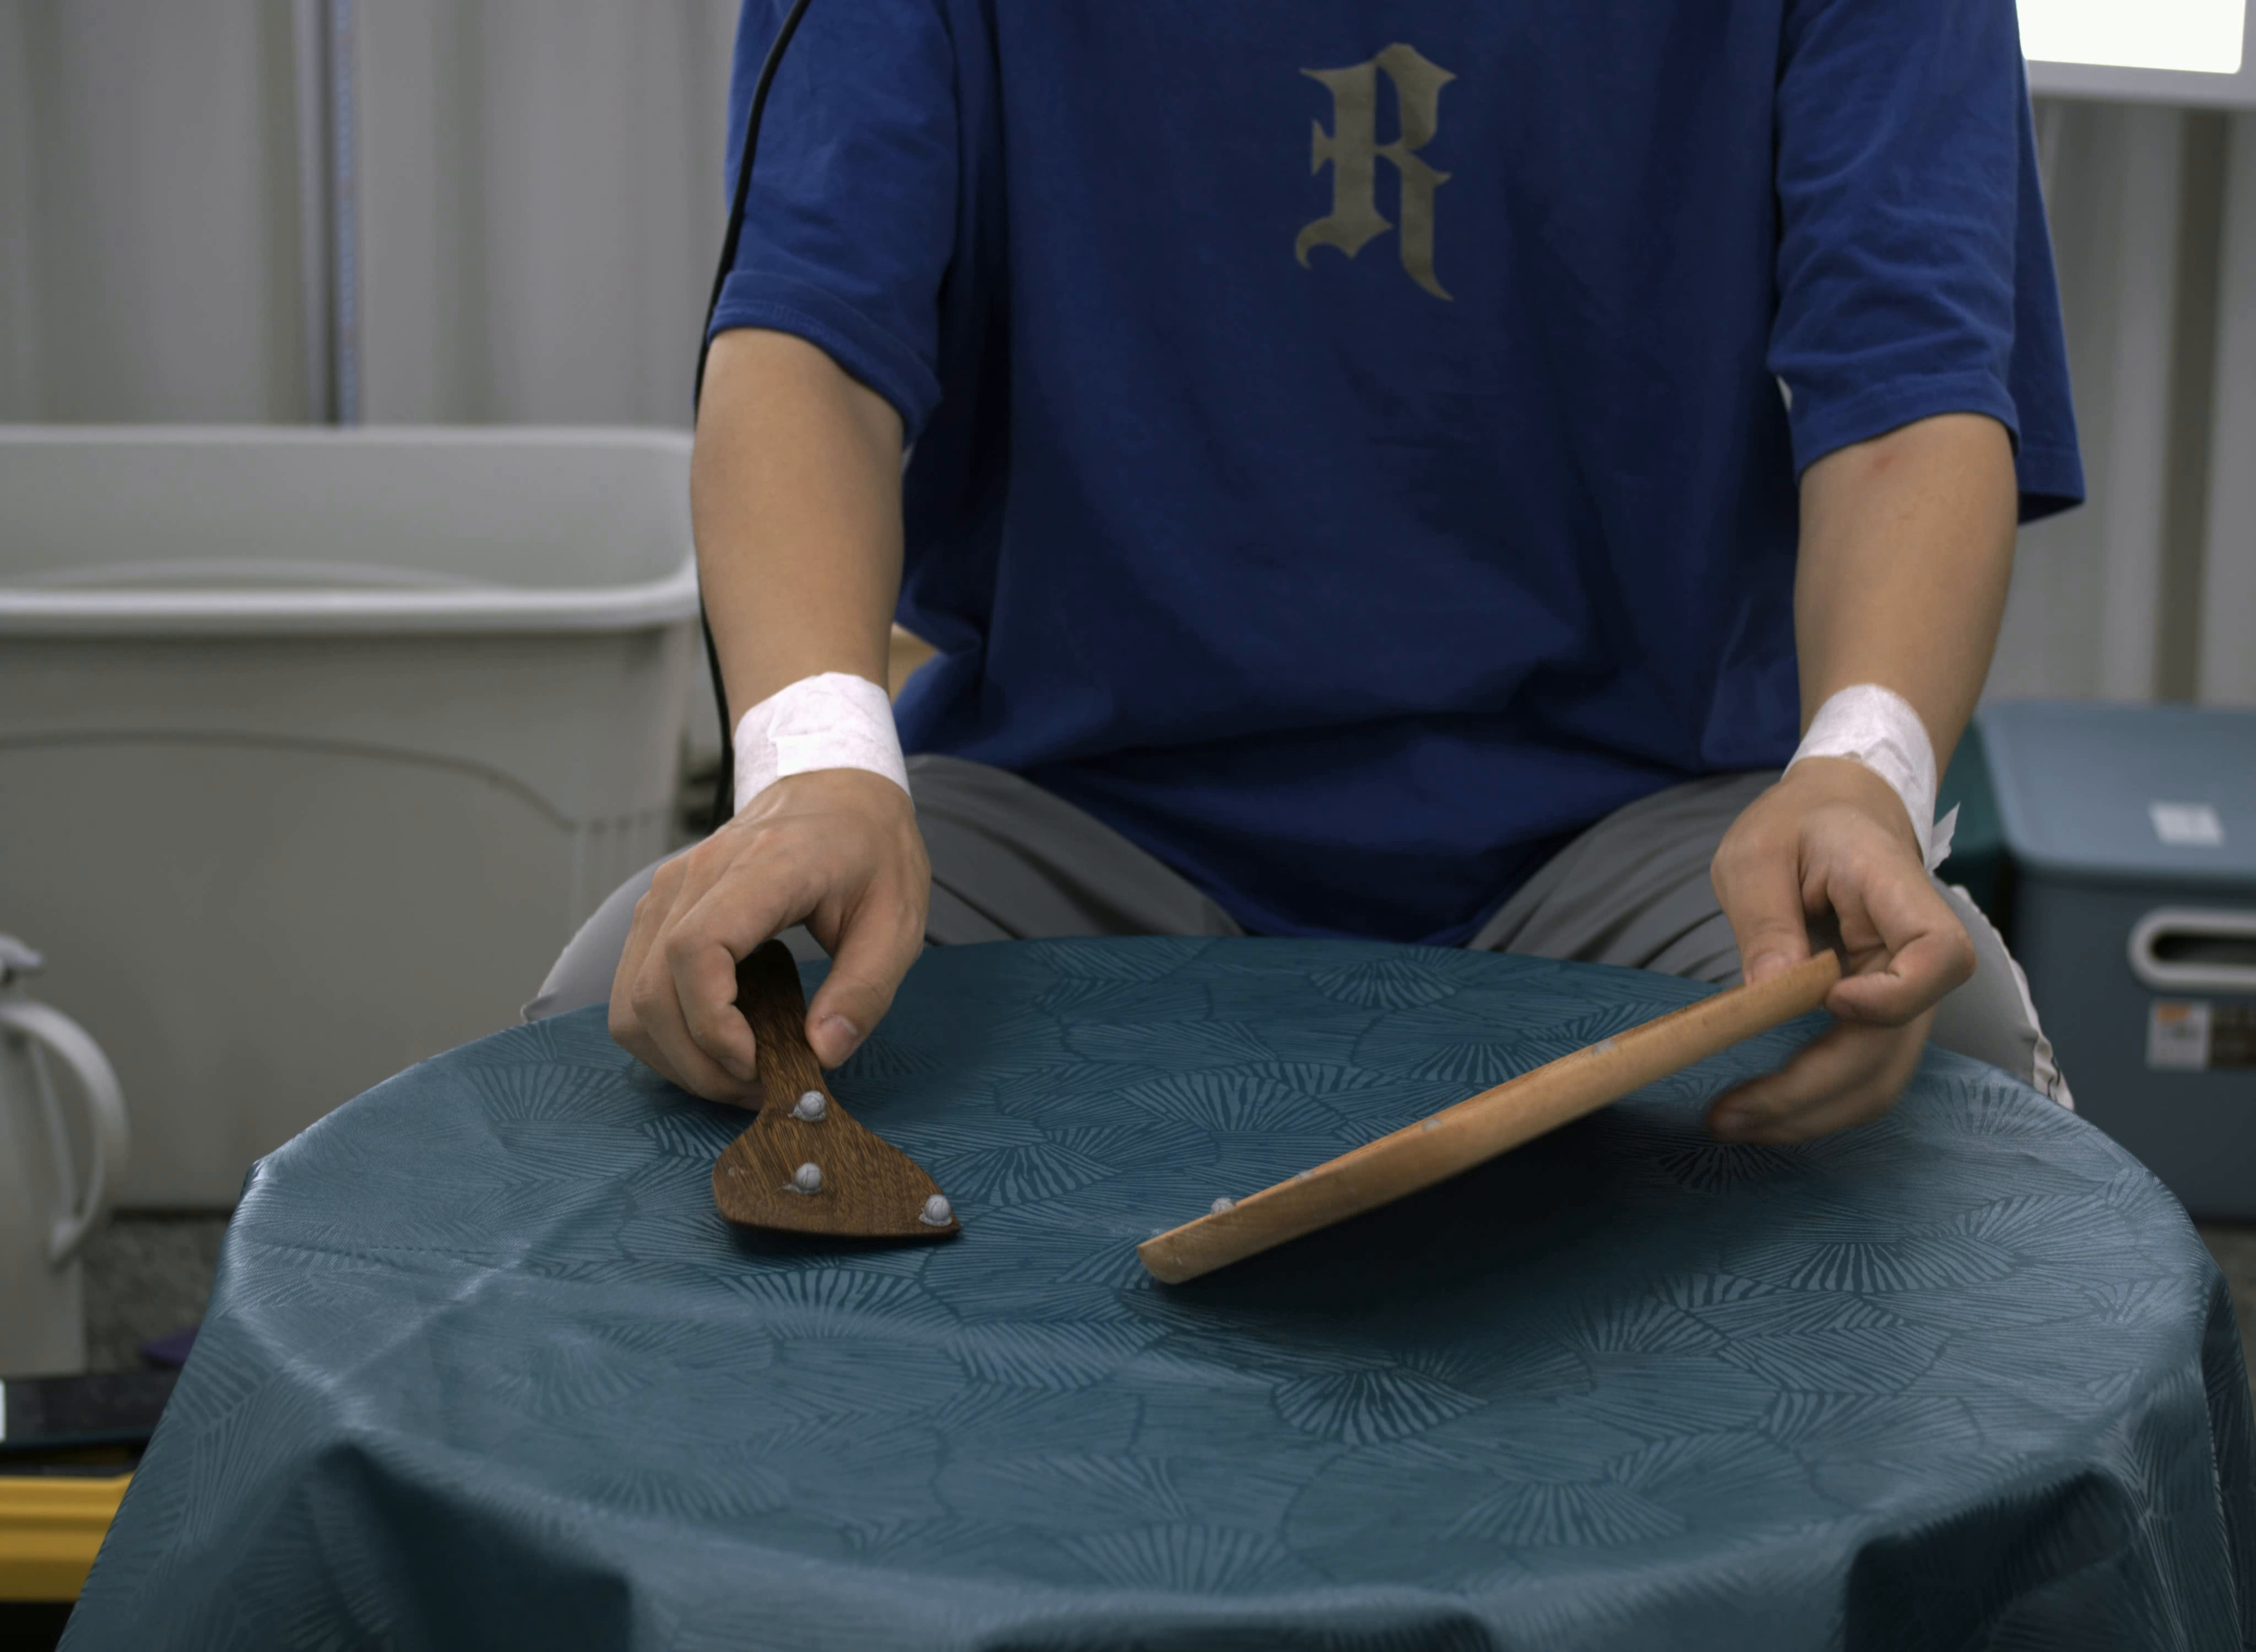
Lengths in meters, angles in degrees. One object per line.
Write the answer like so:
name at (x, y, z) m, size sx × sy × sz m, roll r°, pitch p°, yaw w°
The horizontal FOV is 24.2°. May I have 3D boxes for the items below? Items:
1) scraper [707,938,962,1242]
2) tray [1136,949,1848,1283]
scraper at (-0.105, 0.082, 1.655) m, size 0.076 × 0.011 × 0.209 m, roll 4°, pitch 24°, yaw -14°
tray at (0.114, 0.087, 1.589) m, size 0.129 × 0.023 × 0.252 m, roll -21°, pitch -2°, yaw 41°
